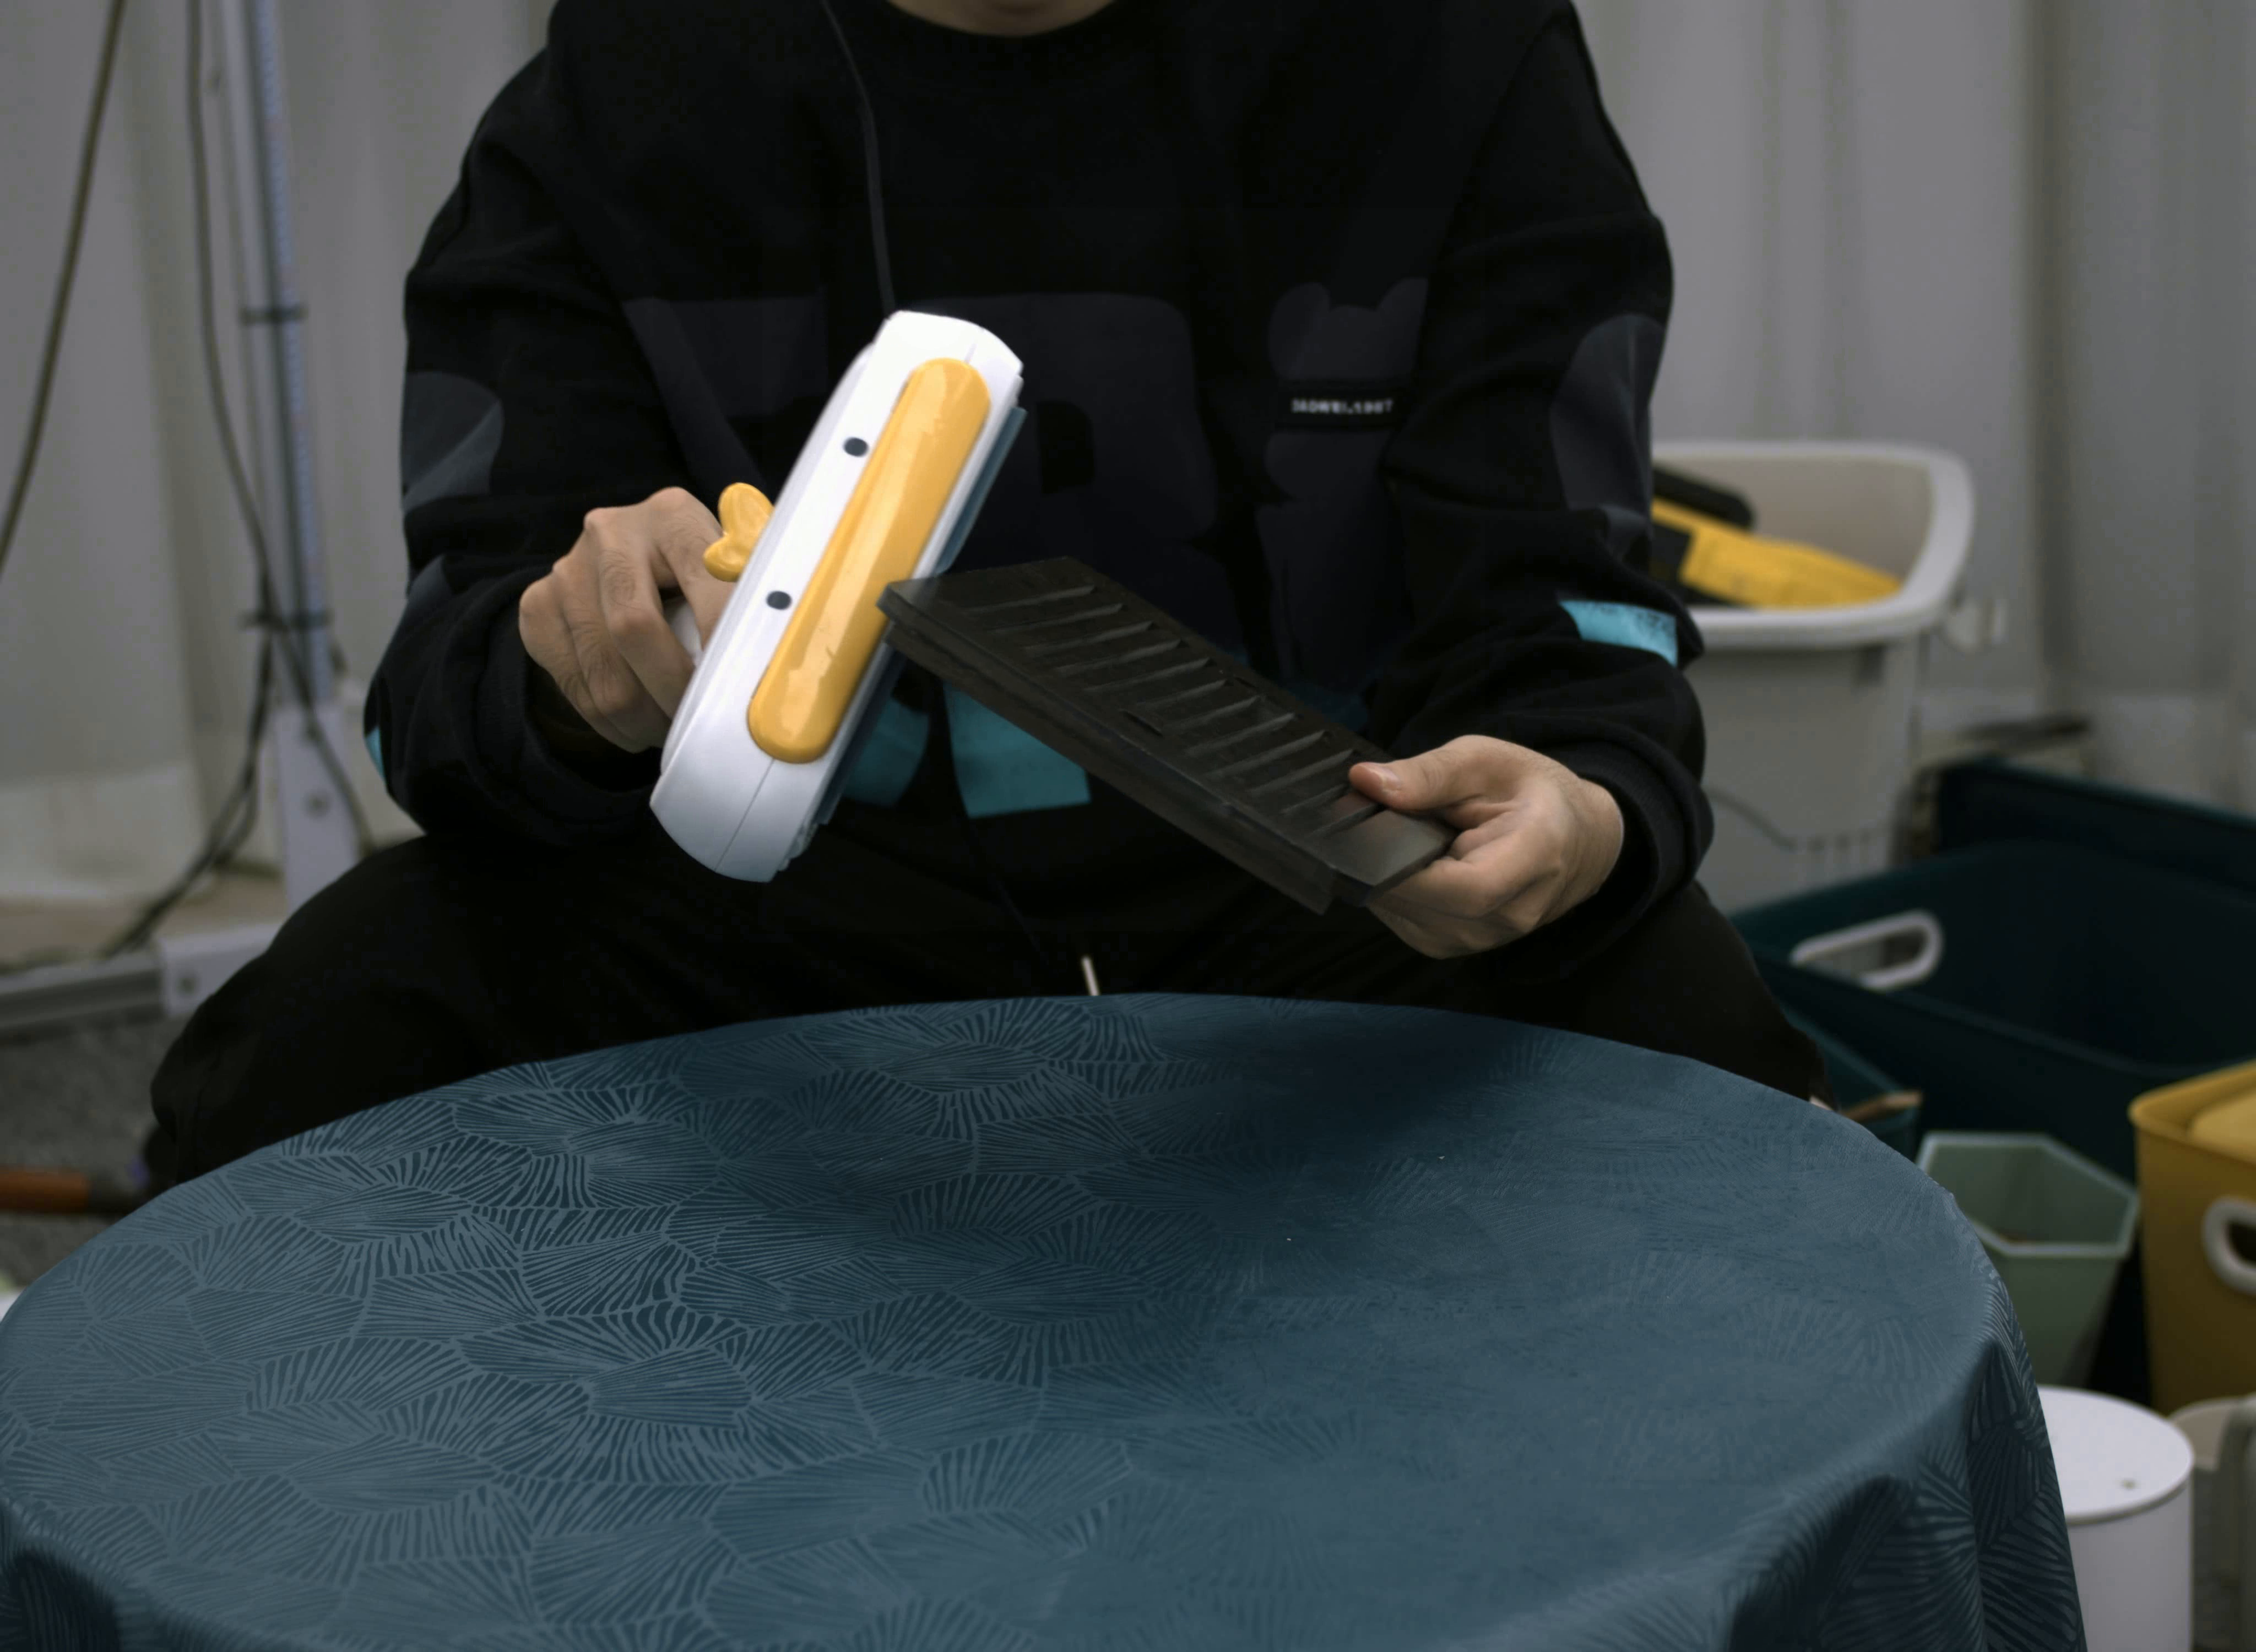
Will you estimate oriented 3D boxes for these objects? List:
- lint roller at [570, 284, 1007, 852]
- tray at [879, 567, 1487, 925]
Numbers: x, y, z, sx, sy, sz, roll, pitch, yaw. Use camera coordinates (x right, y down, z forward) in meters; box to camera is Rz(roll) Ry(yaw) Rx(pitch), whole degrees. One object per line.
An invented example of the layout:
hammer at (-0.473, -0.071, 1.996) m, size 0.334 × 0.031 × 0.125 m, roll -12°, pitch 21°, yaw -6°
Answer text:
lint roller at (-0.119, -0.065, 1.730) m, size 0.073 × 0.195 × 0.191 m, roll 26°, pitch -28°, yaw -15°
tray at (0.022, -0.028, 1.732) m, size 0.170 × 0.018 × 0.306 m, roll 32°, pitch 9°, yaw 7°
